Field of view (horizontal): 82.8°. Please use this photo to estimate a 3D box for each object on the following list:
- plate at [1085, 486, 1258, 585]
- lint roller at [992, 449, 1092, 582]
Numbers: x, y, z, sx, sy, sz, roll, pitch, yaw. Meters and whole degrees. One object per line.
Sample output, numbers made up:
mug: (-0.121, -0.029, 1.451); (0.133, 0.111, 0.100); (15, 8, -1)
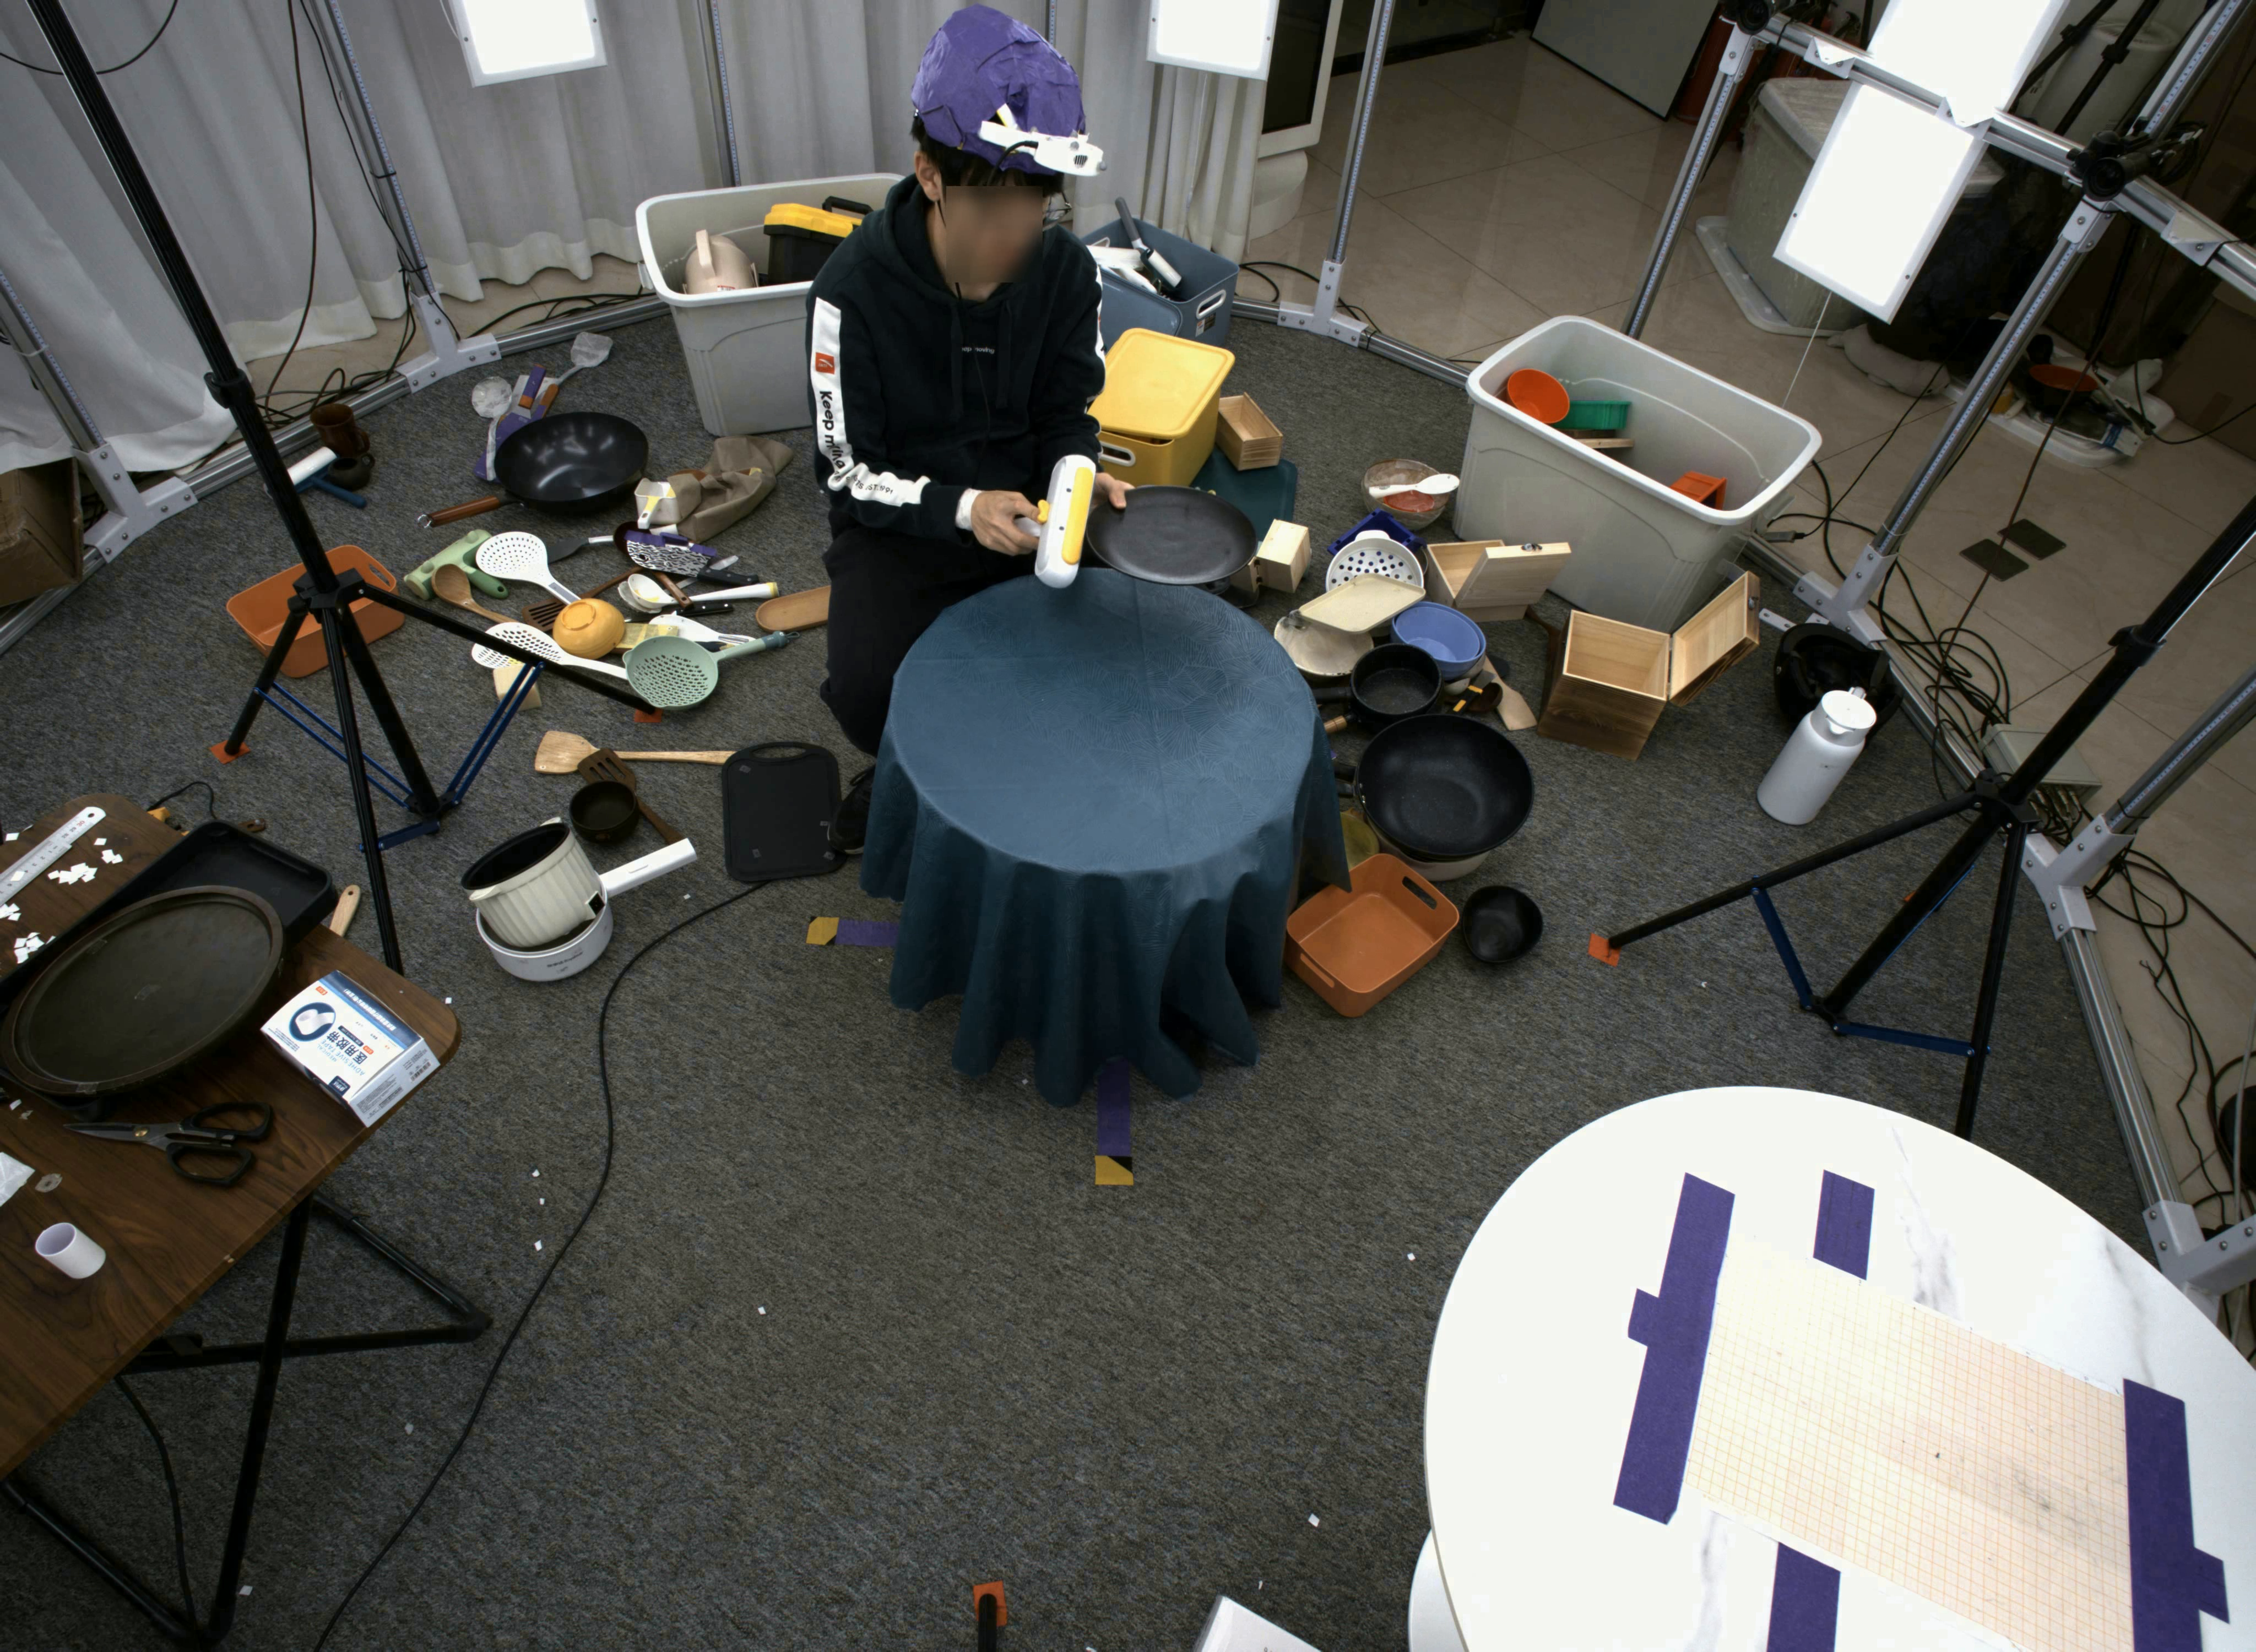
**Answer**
plate: (0.061, -0.406, 1.819); (0.244, 0.023, 0.250); (2, 45, -2)
lint roller: (-0.126, -0.435, 1.872); (0.073, 0.192, 0.195); (12, 76, -34)
